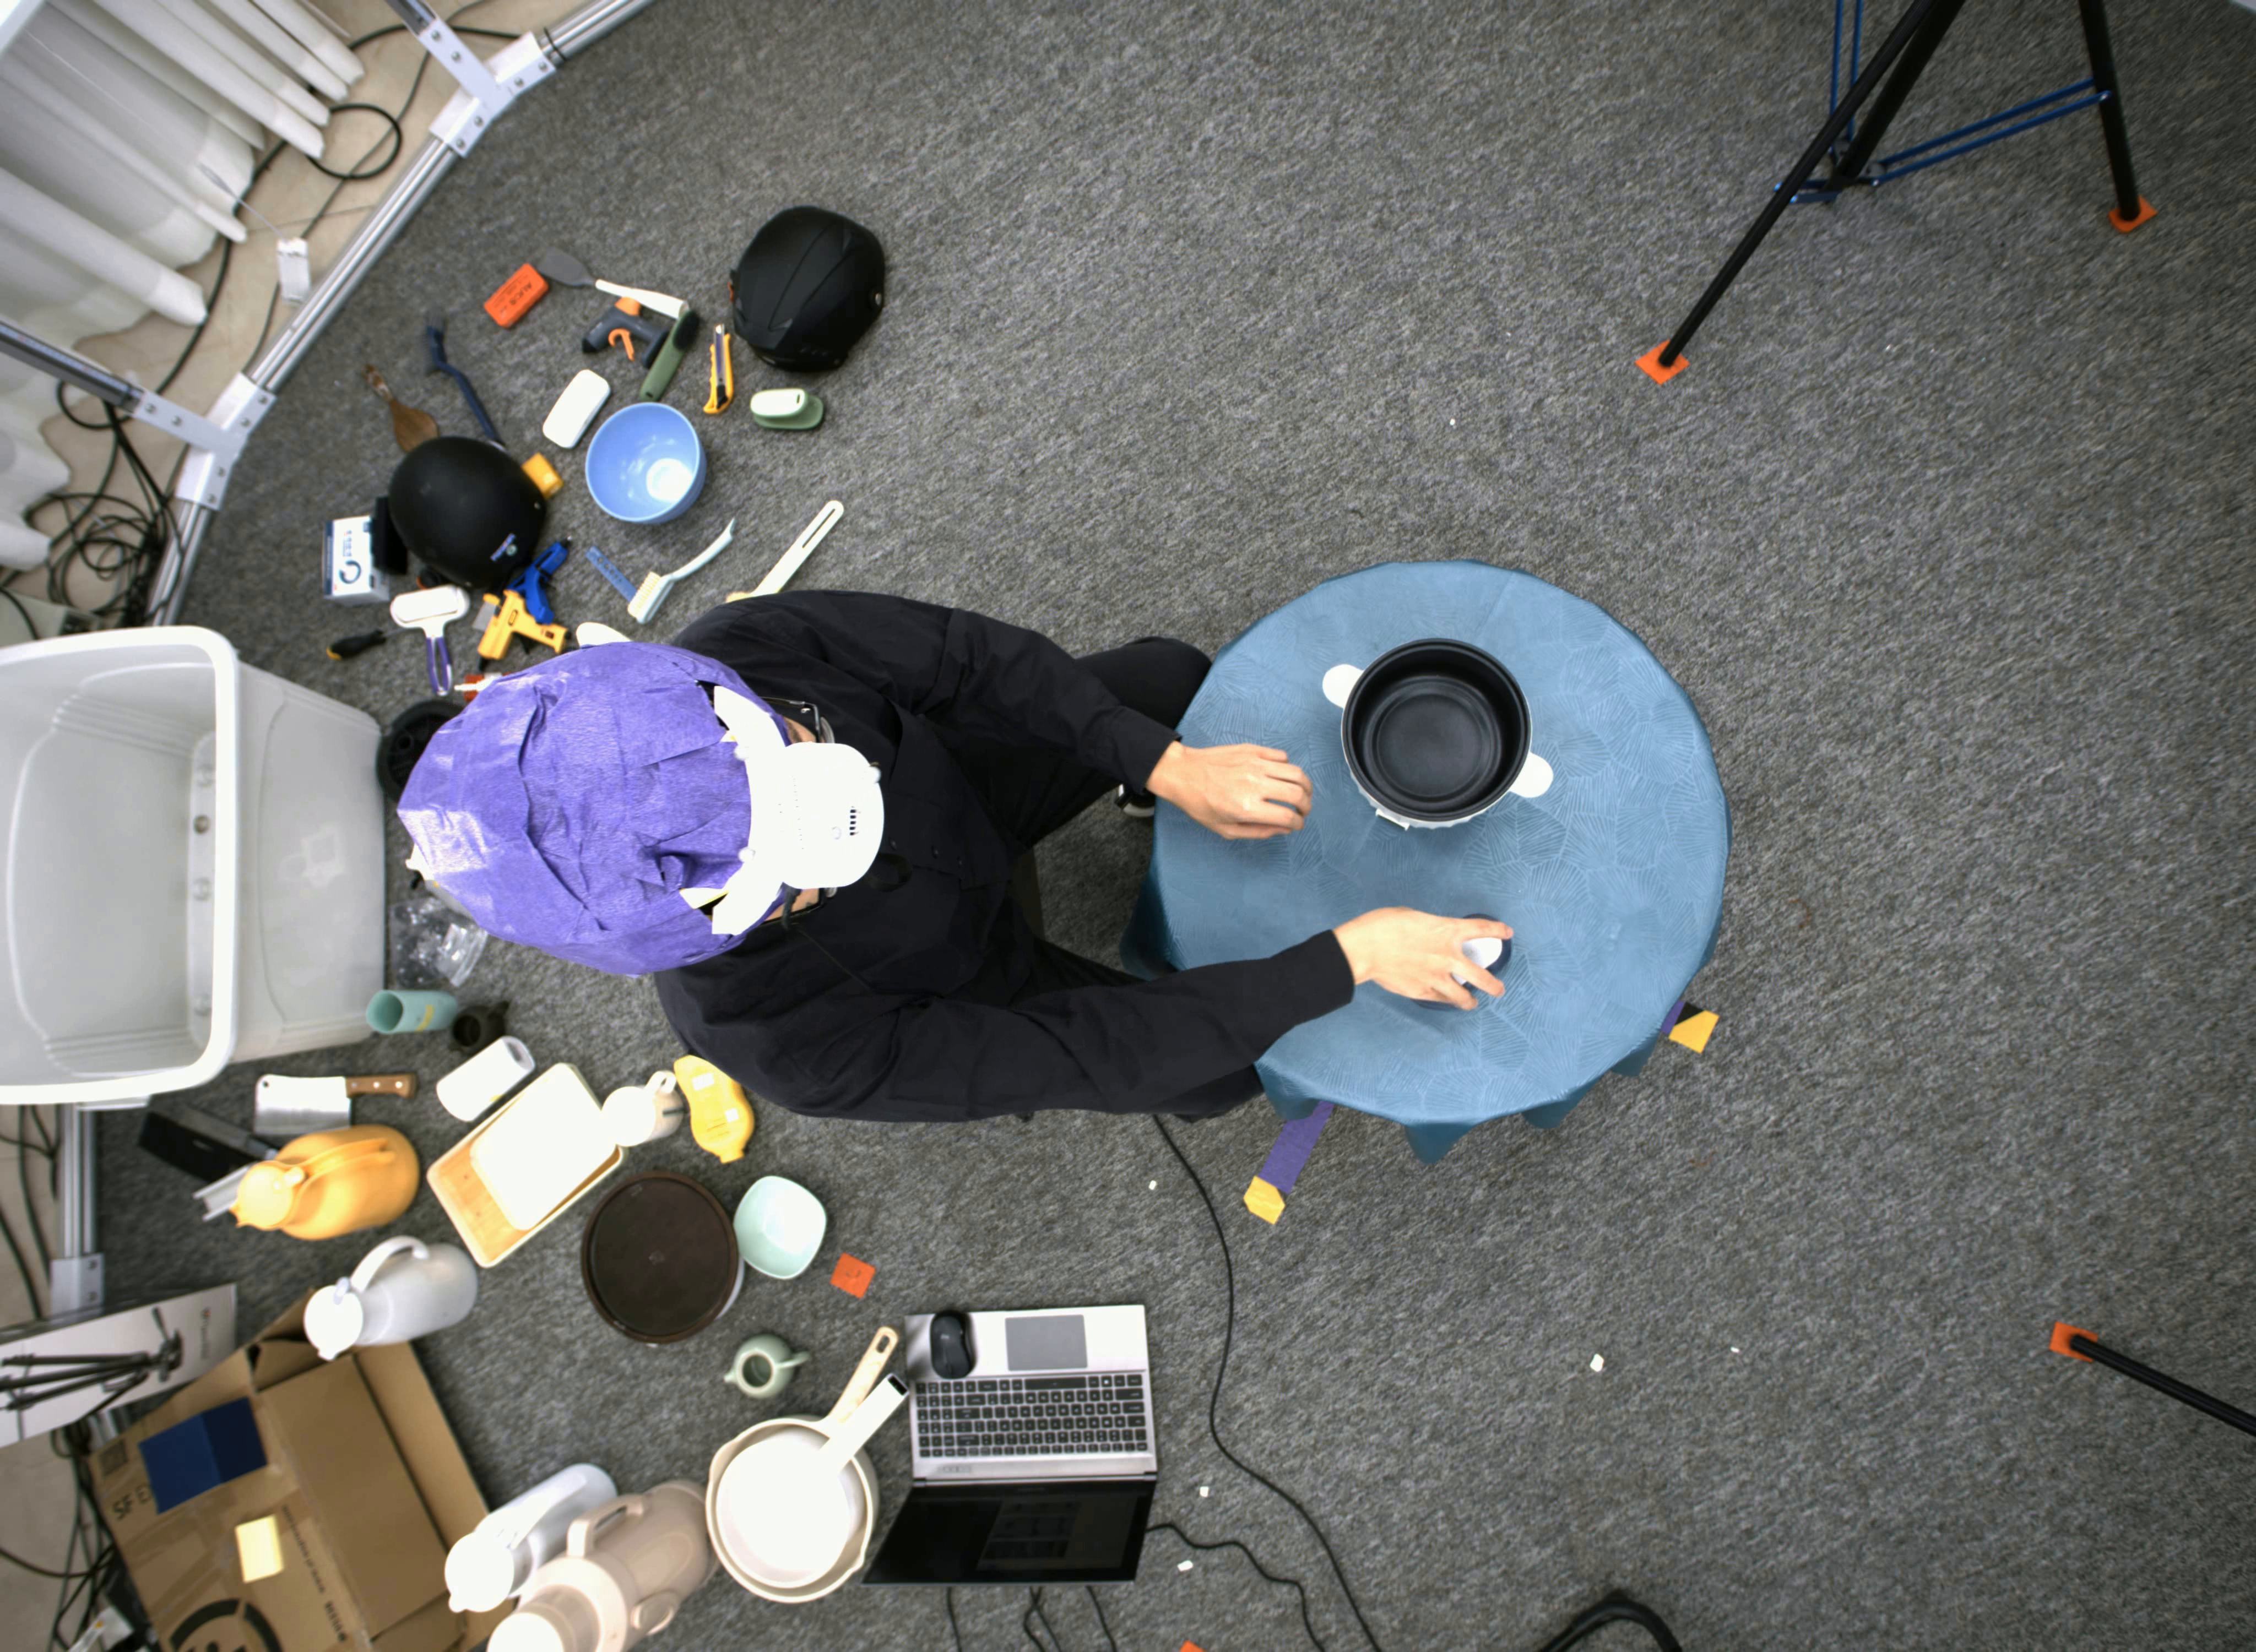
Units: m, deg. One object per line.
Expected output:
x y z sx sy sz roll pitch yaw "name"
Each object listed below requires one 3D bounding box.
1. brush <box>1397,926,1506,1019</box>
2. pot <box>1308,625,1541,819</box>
0.333 0.149 1.419 0.122 0.061 0.067 -31 83 4 "brush"
0.297 -0.106 1.387 0.240 0.142 0.191 26 93 9 "pot"
